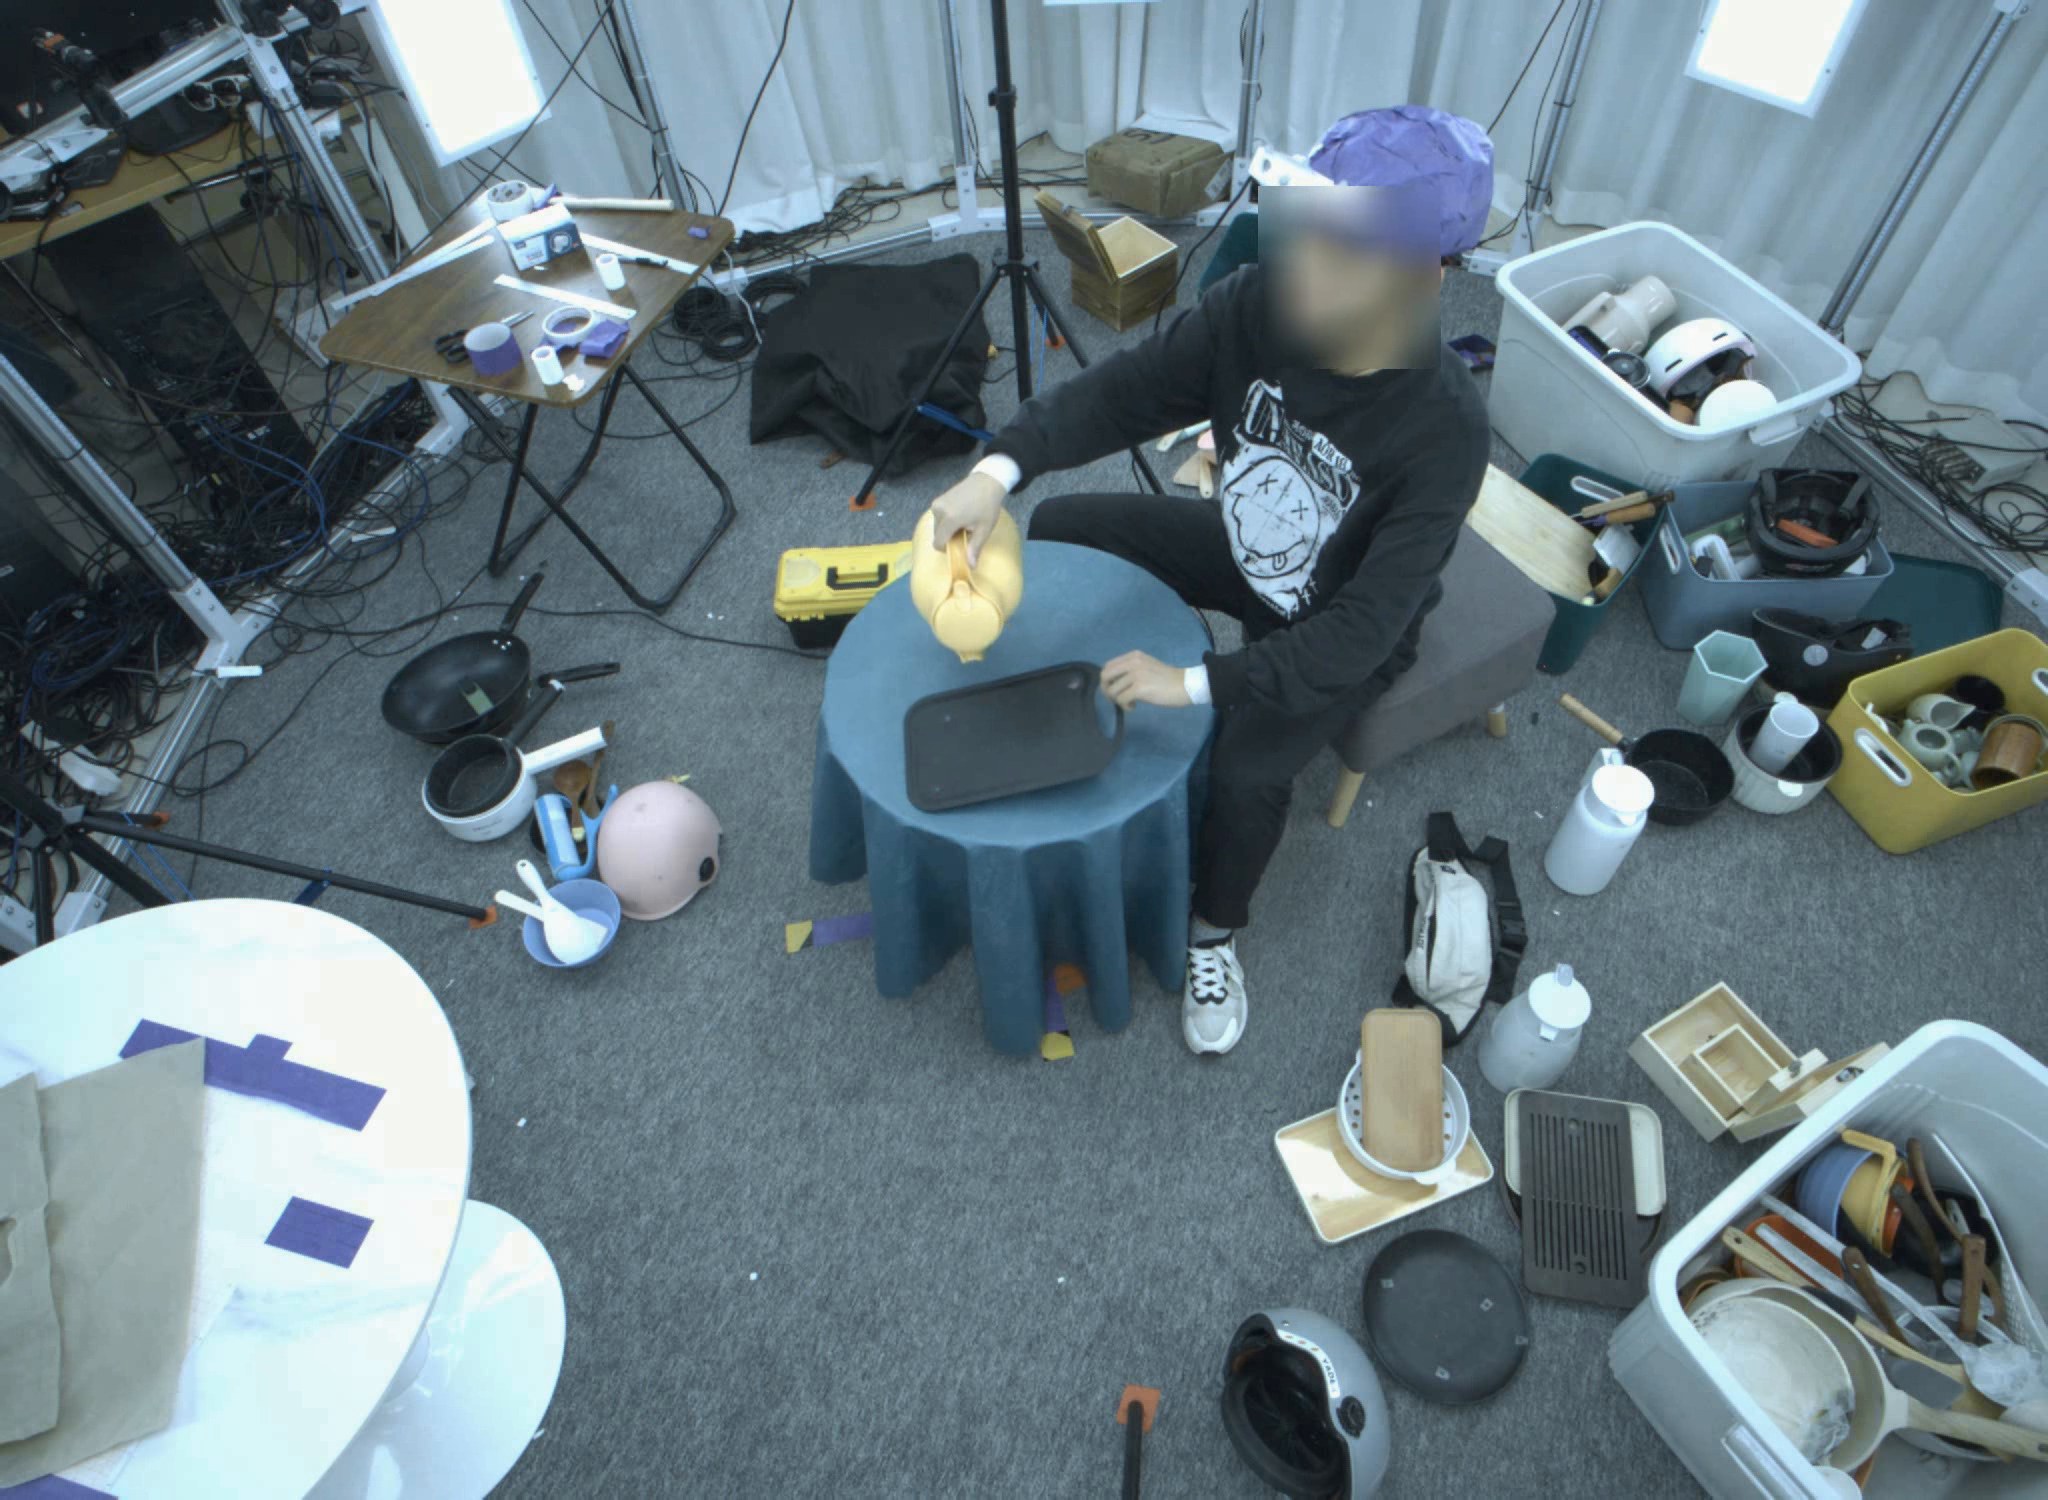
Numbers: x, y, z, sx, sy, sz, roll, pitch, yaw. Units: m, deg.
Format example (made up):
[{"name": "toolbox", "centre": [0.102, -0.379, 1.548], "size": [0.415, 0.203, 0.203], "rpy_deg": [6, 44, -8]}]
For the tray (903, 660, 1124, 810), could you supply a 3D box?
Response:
[{"name": "tray", "centre": [-0.018, -0.027, 1.763], "size": [0.324, 0.010, 0.208], "rpy_deg": [-12, 55, 7]}]

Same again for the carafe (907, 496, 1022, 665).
[{"name": "carafe", "centre": [-0.084, -0.256, 1.723], "size": [0.164, 0.204, 0.256], "rpy_deg": [-5, 39, -3]}]
